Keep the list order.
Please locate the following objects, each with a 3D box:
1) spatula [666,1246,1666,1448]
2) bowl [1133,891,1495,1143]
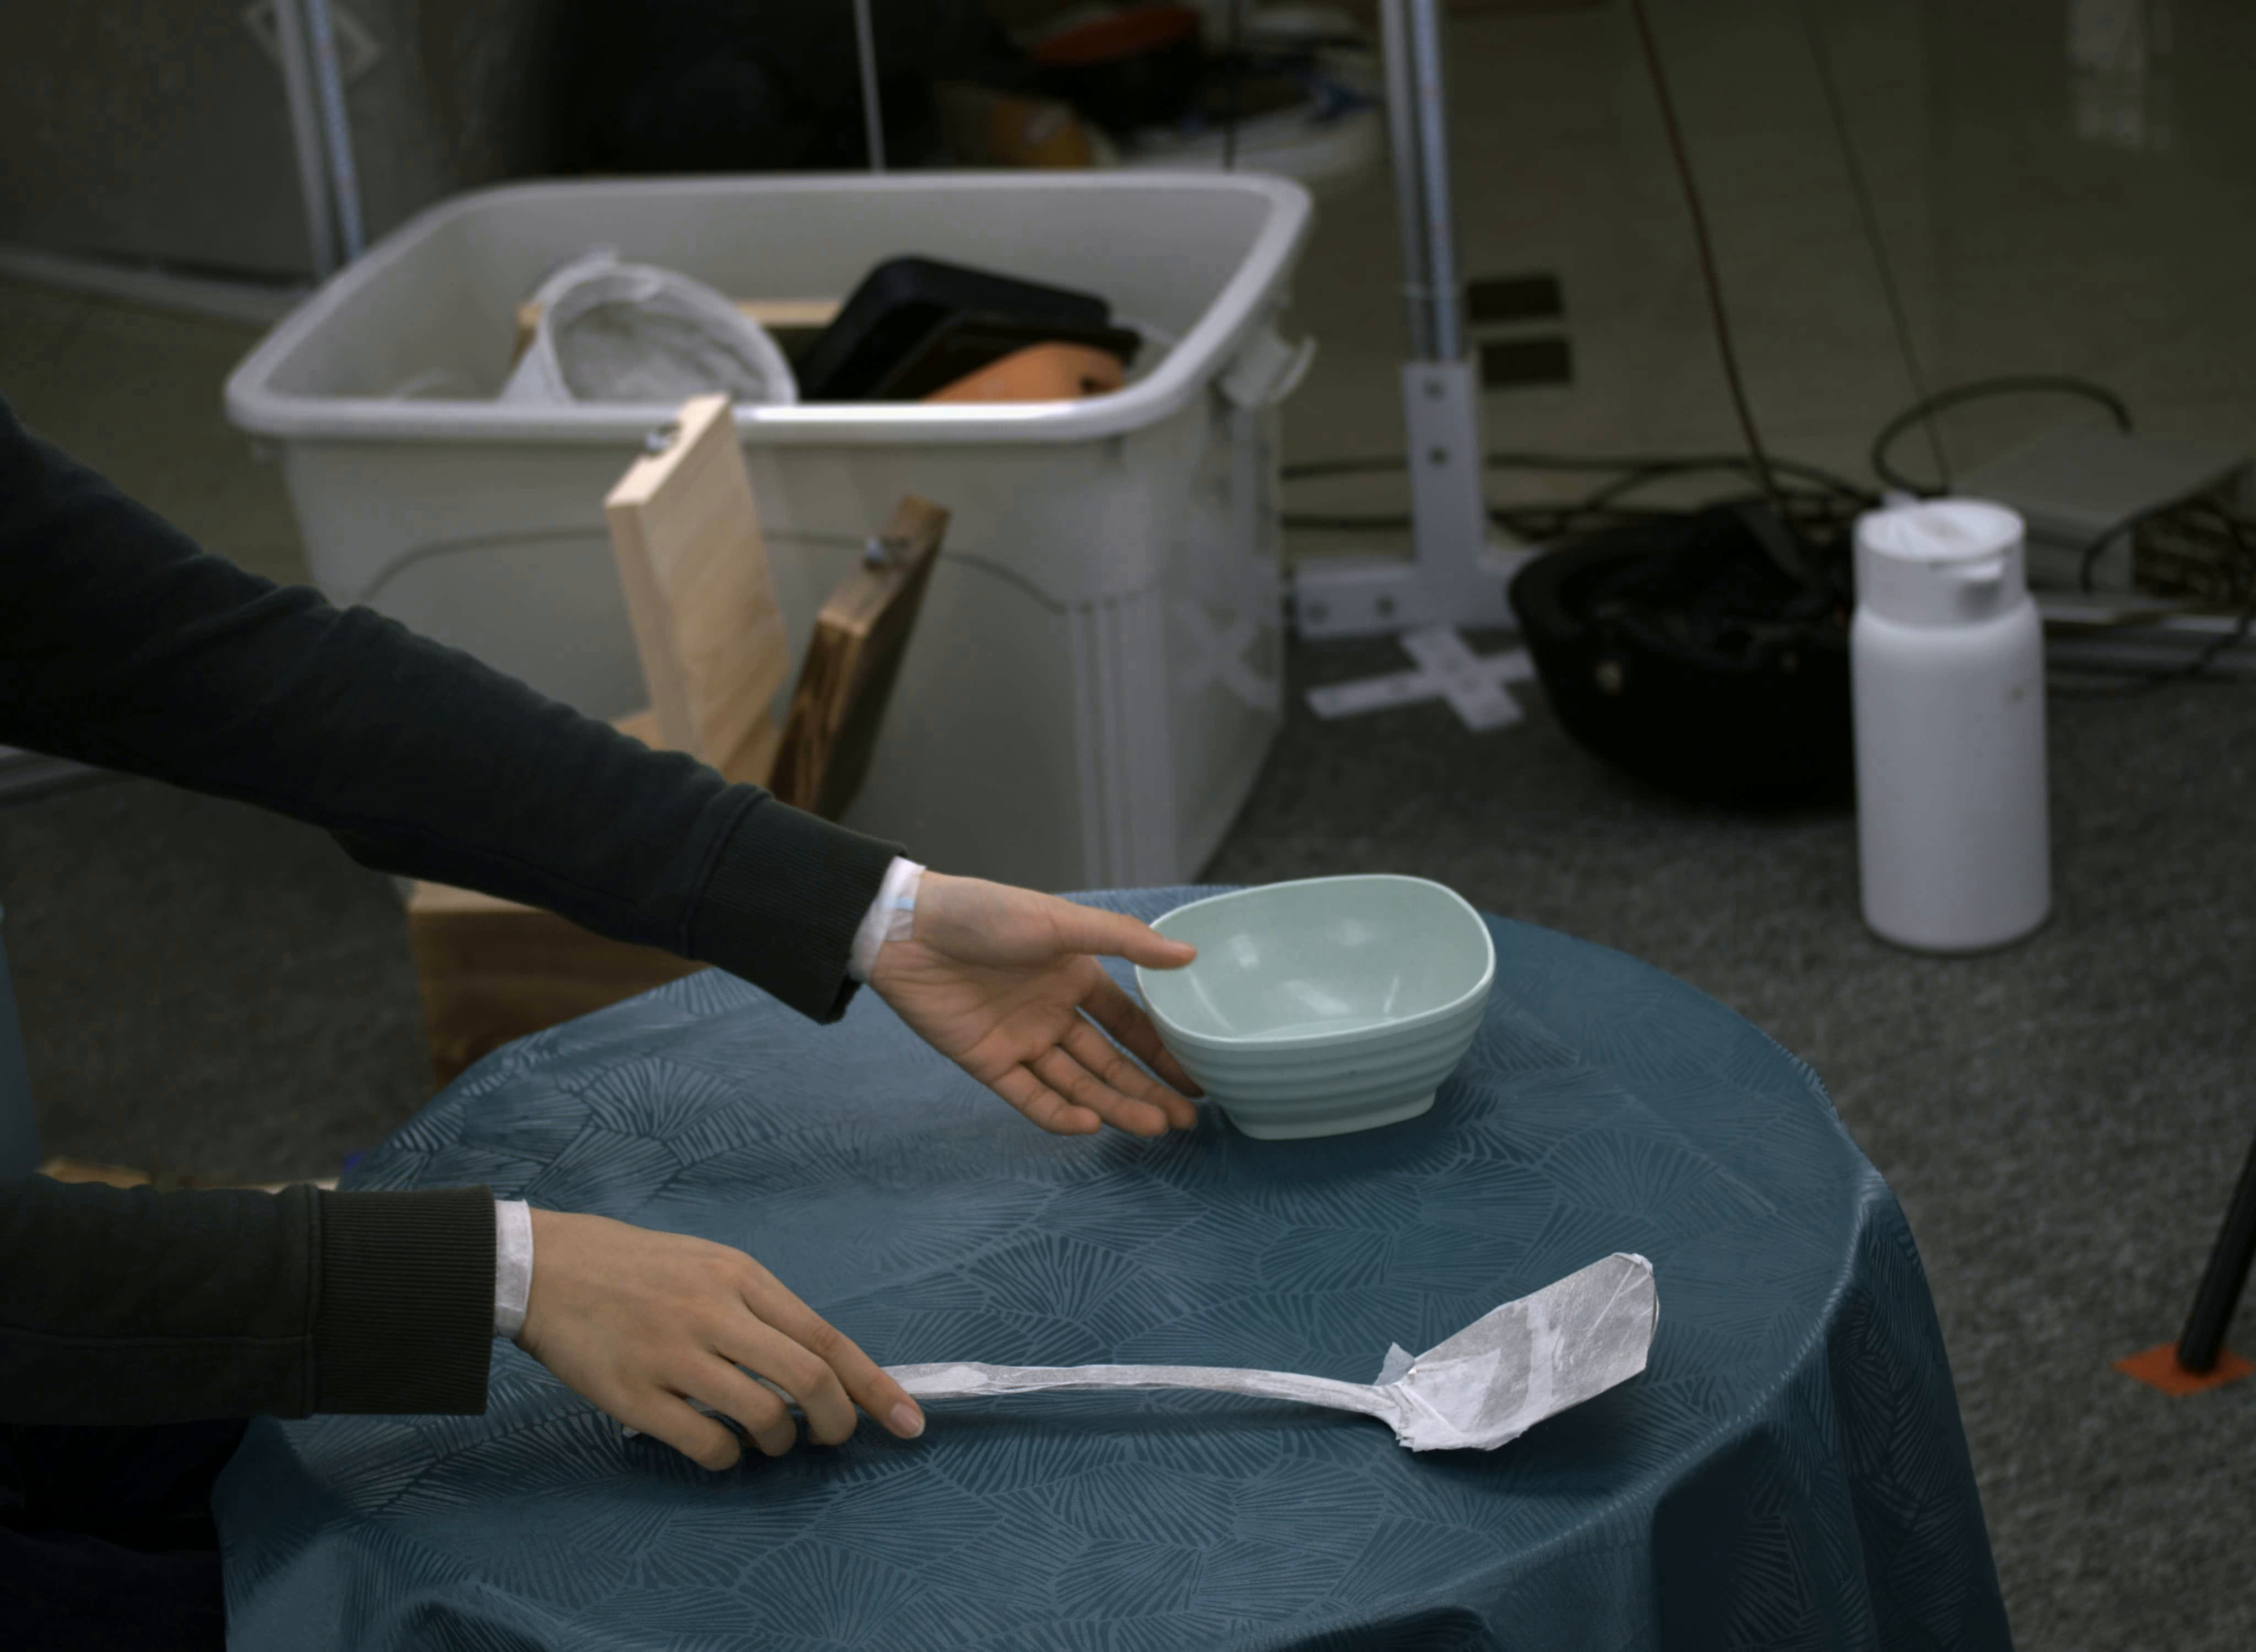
[{"bbox_3d":[0.008,0.189,1.997,0.364,0.045,0.097,-1,27,10],"label":"spatula"},{"bbox_3d":[0.074,0.078,2.199,0.151,0.059,0.149,-5,22,2],"label":"bowl"}]
